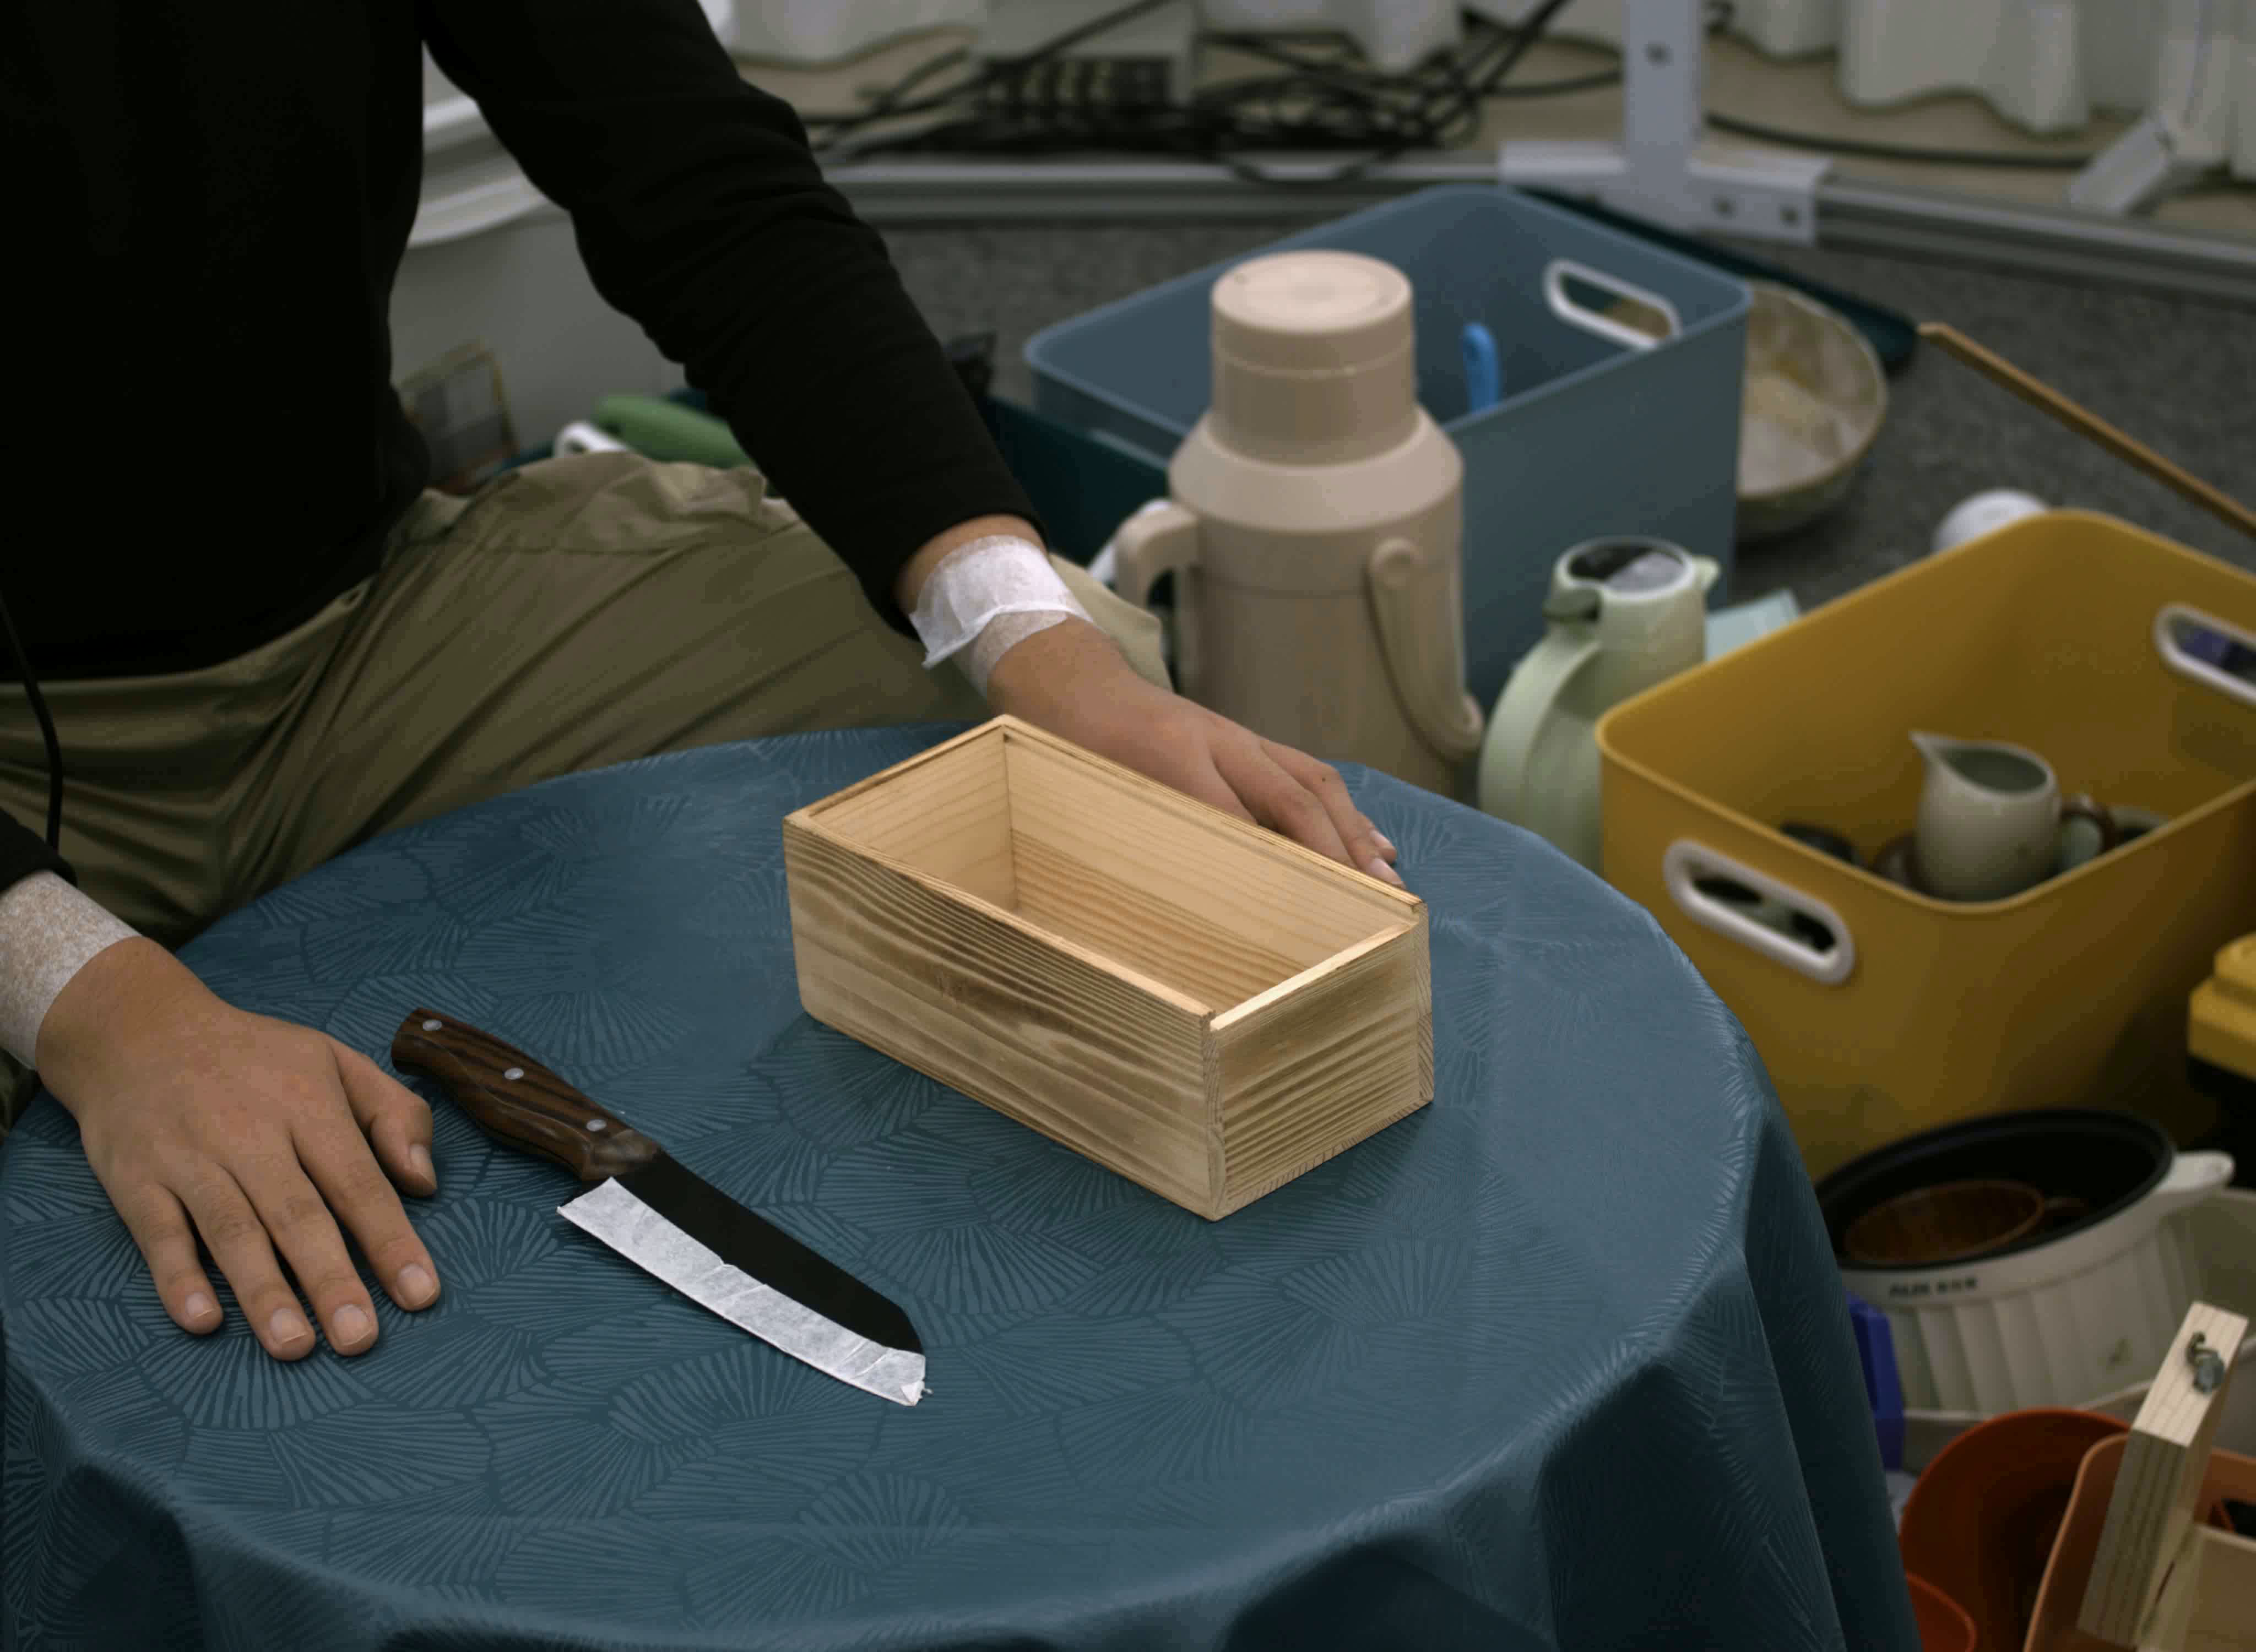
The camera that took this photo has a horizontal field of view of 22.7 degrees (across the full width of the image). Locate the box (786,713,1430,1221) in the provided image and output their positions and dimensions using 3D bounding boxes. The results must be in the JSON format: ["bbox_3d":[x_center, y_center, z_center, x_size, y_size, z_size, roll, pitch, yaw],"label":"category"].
[{"bbox_3d":[-0.008,0.045,1.925,0.109,0.079,0.211,-25,35,-37],"label":"box"}]

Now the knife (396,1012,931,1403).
[{"bbox_3d":[-0.156,0.126,1.853,0.051,0.020,0.289,-27,38,-31],"label":"knife"}]
